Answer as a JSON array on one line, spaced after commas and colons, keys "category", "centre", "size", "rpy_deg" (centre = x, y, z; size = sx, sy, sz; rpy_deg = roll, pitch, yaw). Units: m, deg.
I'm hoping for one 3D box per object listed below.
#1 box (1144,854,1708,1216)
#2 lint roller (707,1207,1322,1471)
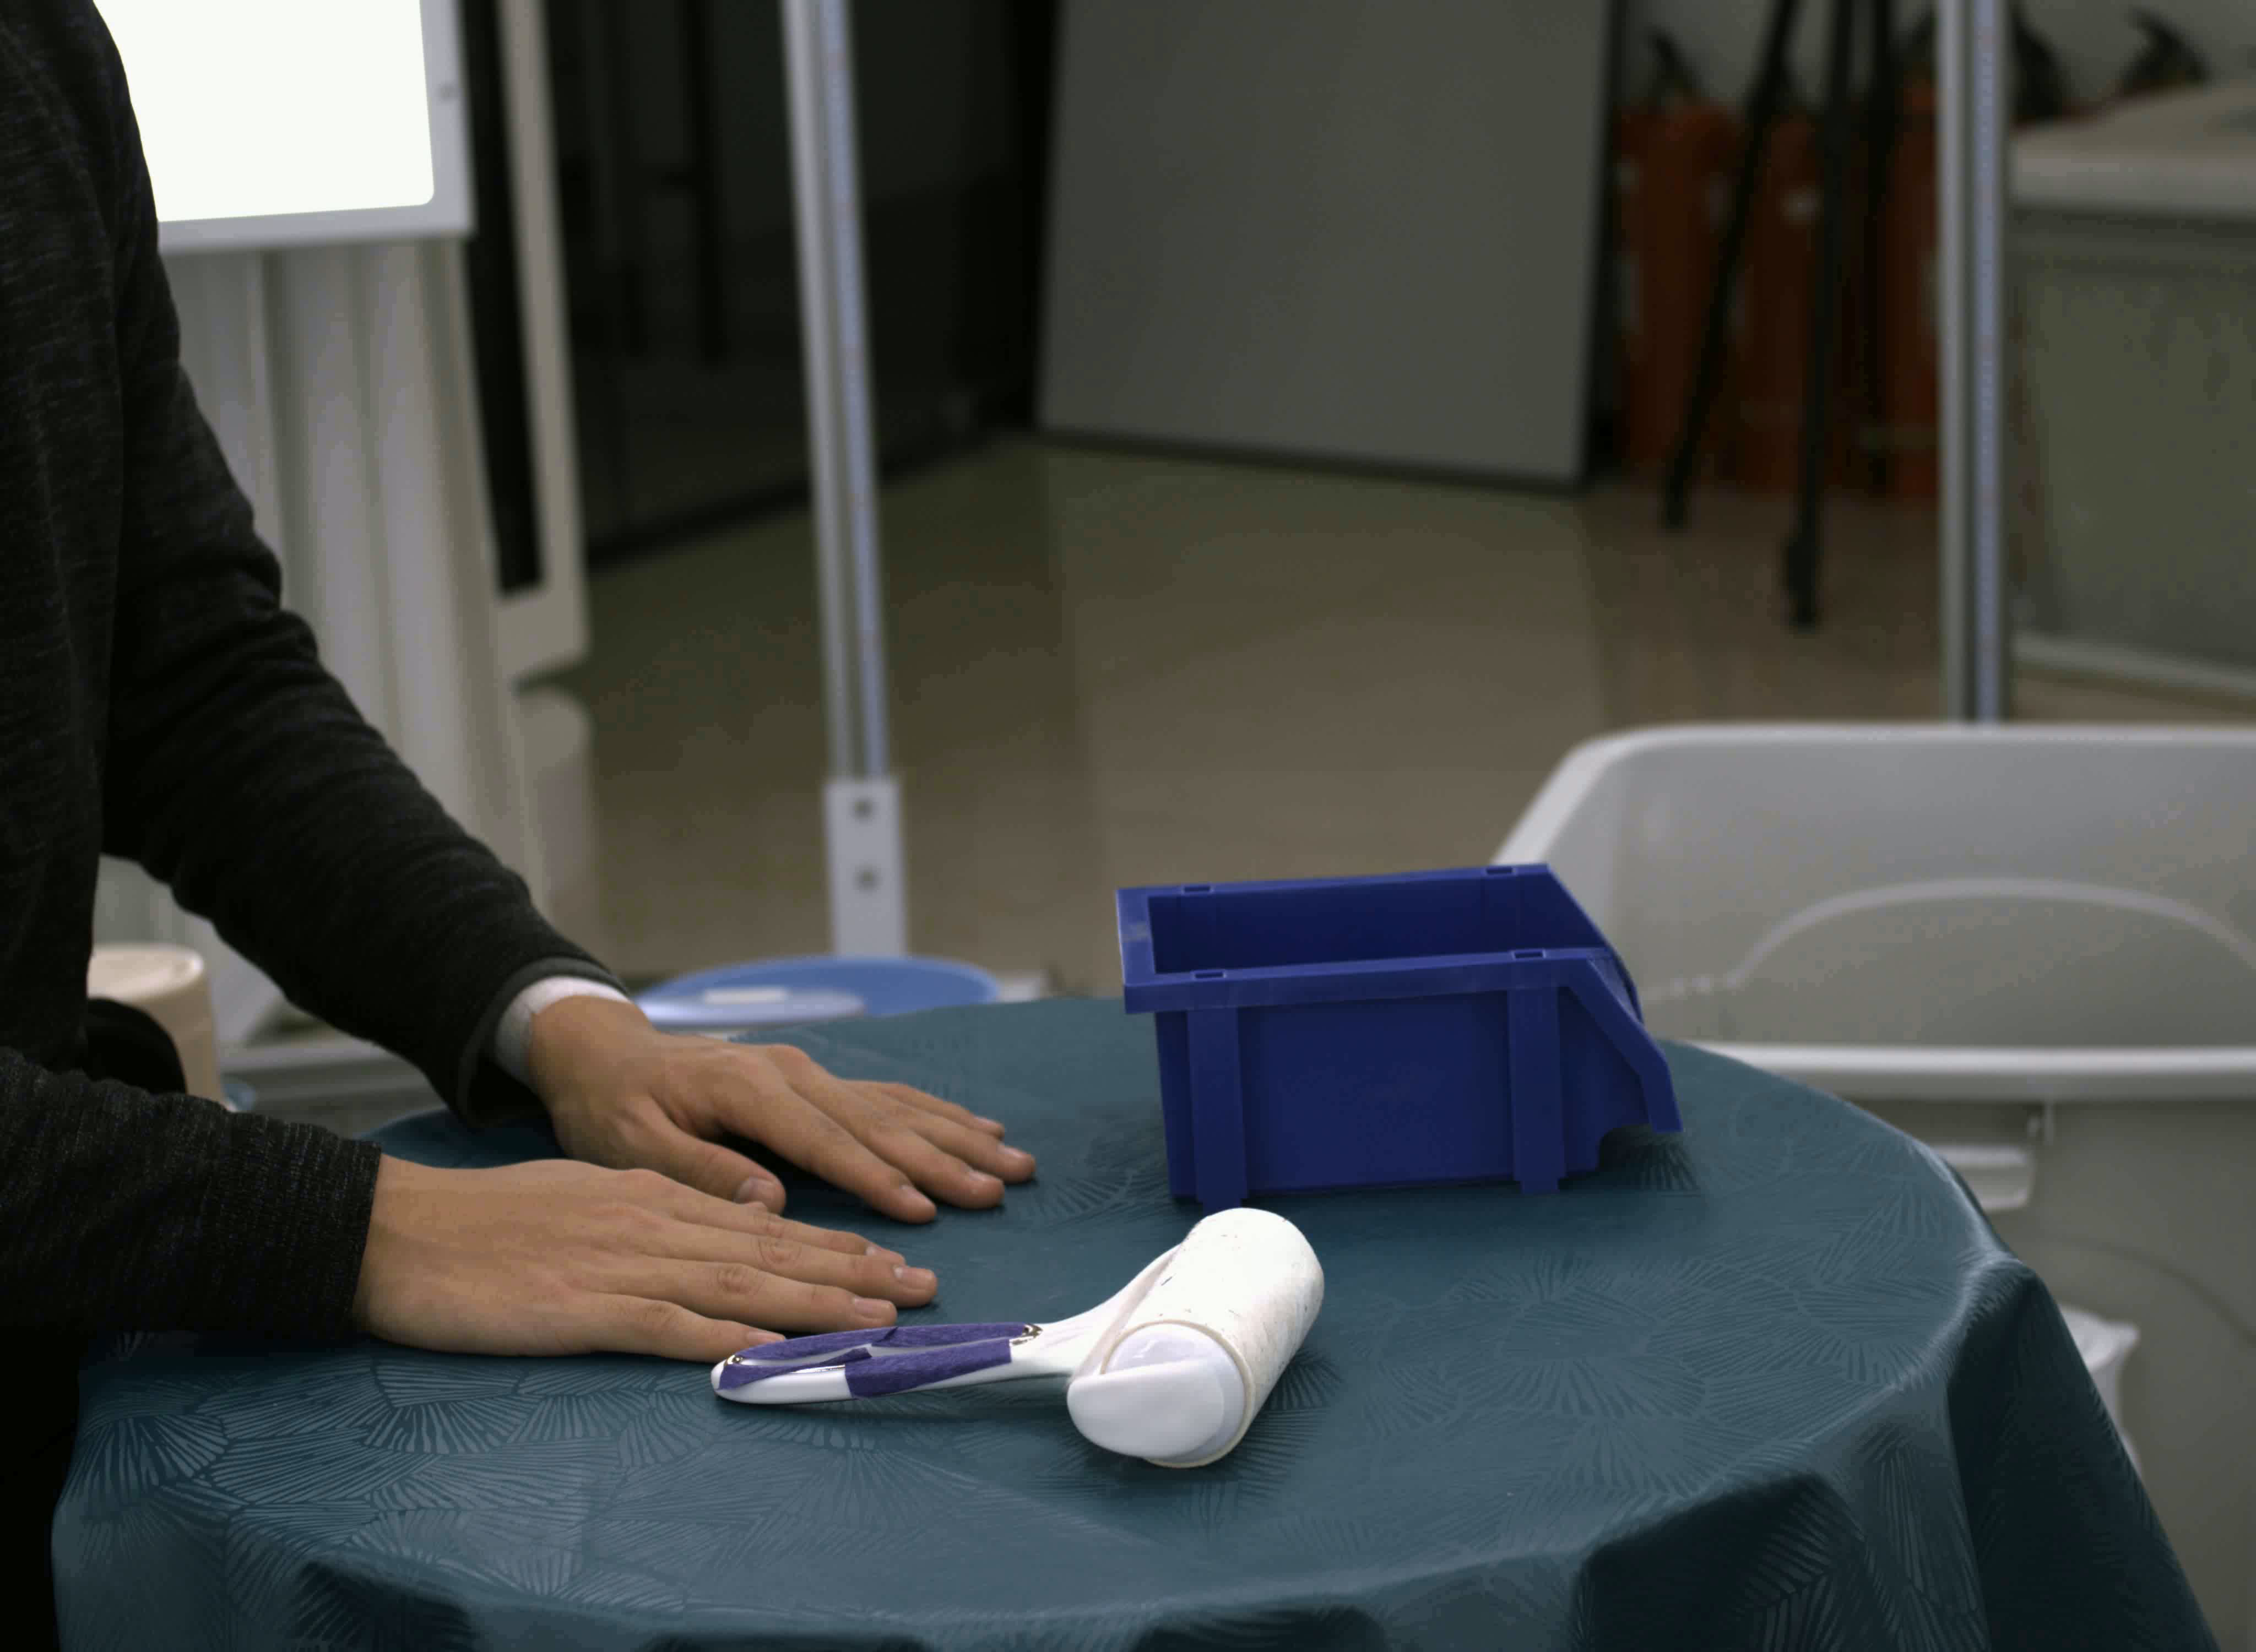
[{"category": "box", "centre": [0.097, 0.067, 1.789], "size": [0.177, 0.083, 0.124], "rpy_deg": [-6, 13, 3]}, {"category": "lint roller", "centre": [-0.038, 0.146, 1.579], "size": [0.180, 0.051, 0.132], "rpy_deg": [2, 16, 17]}]
